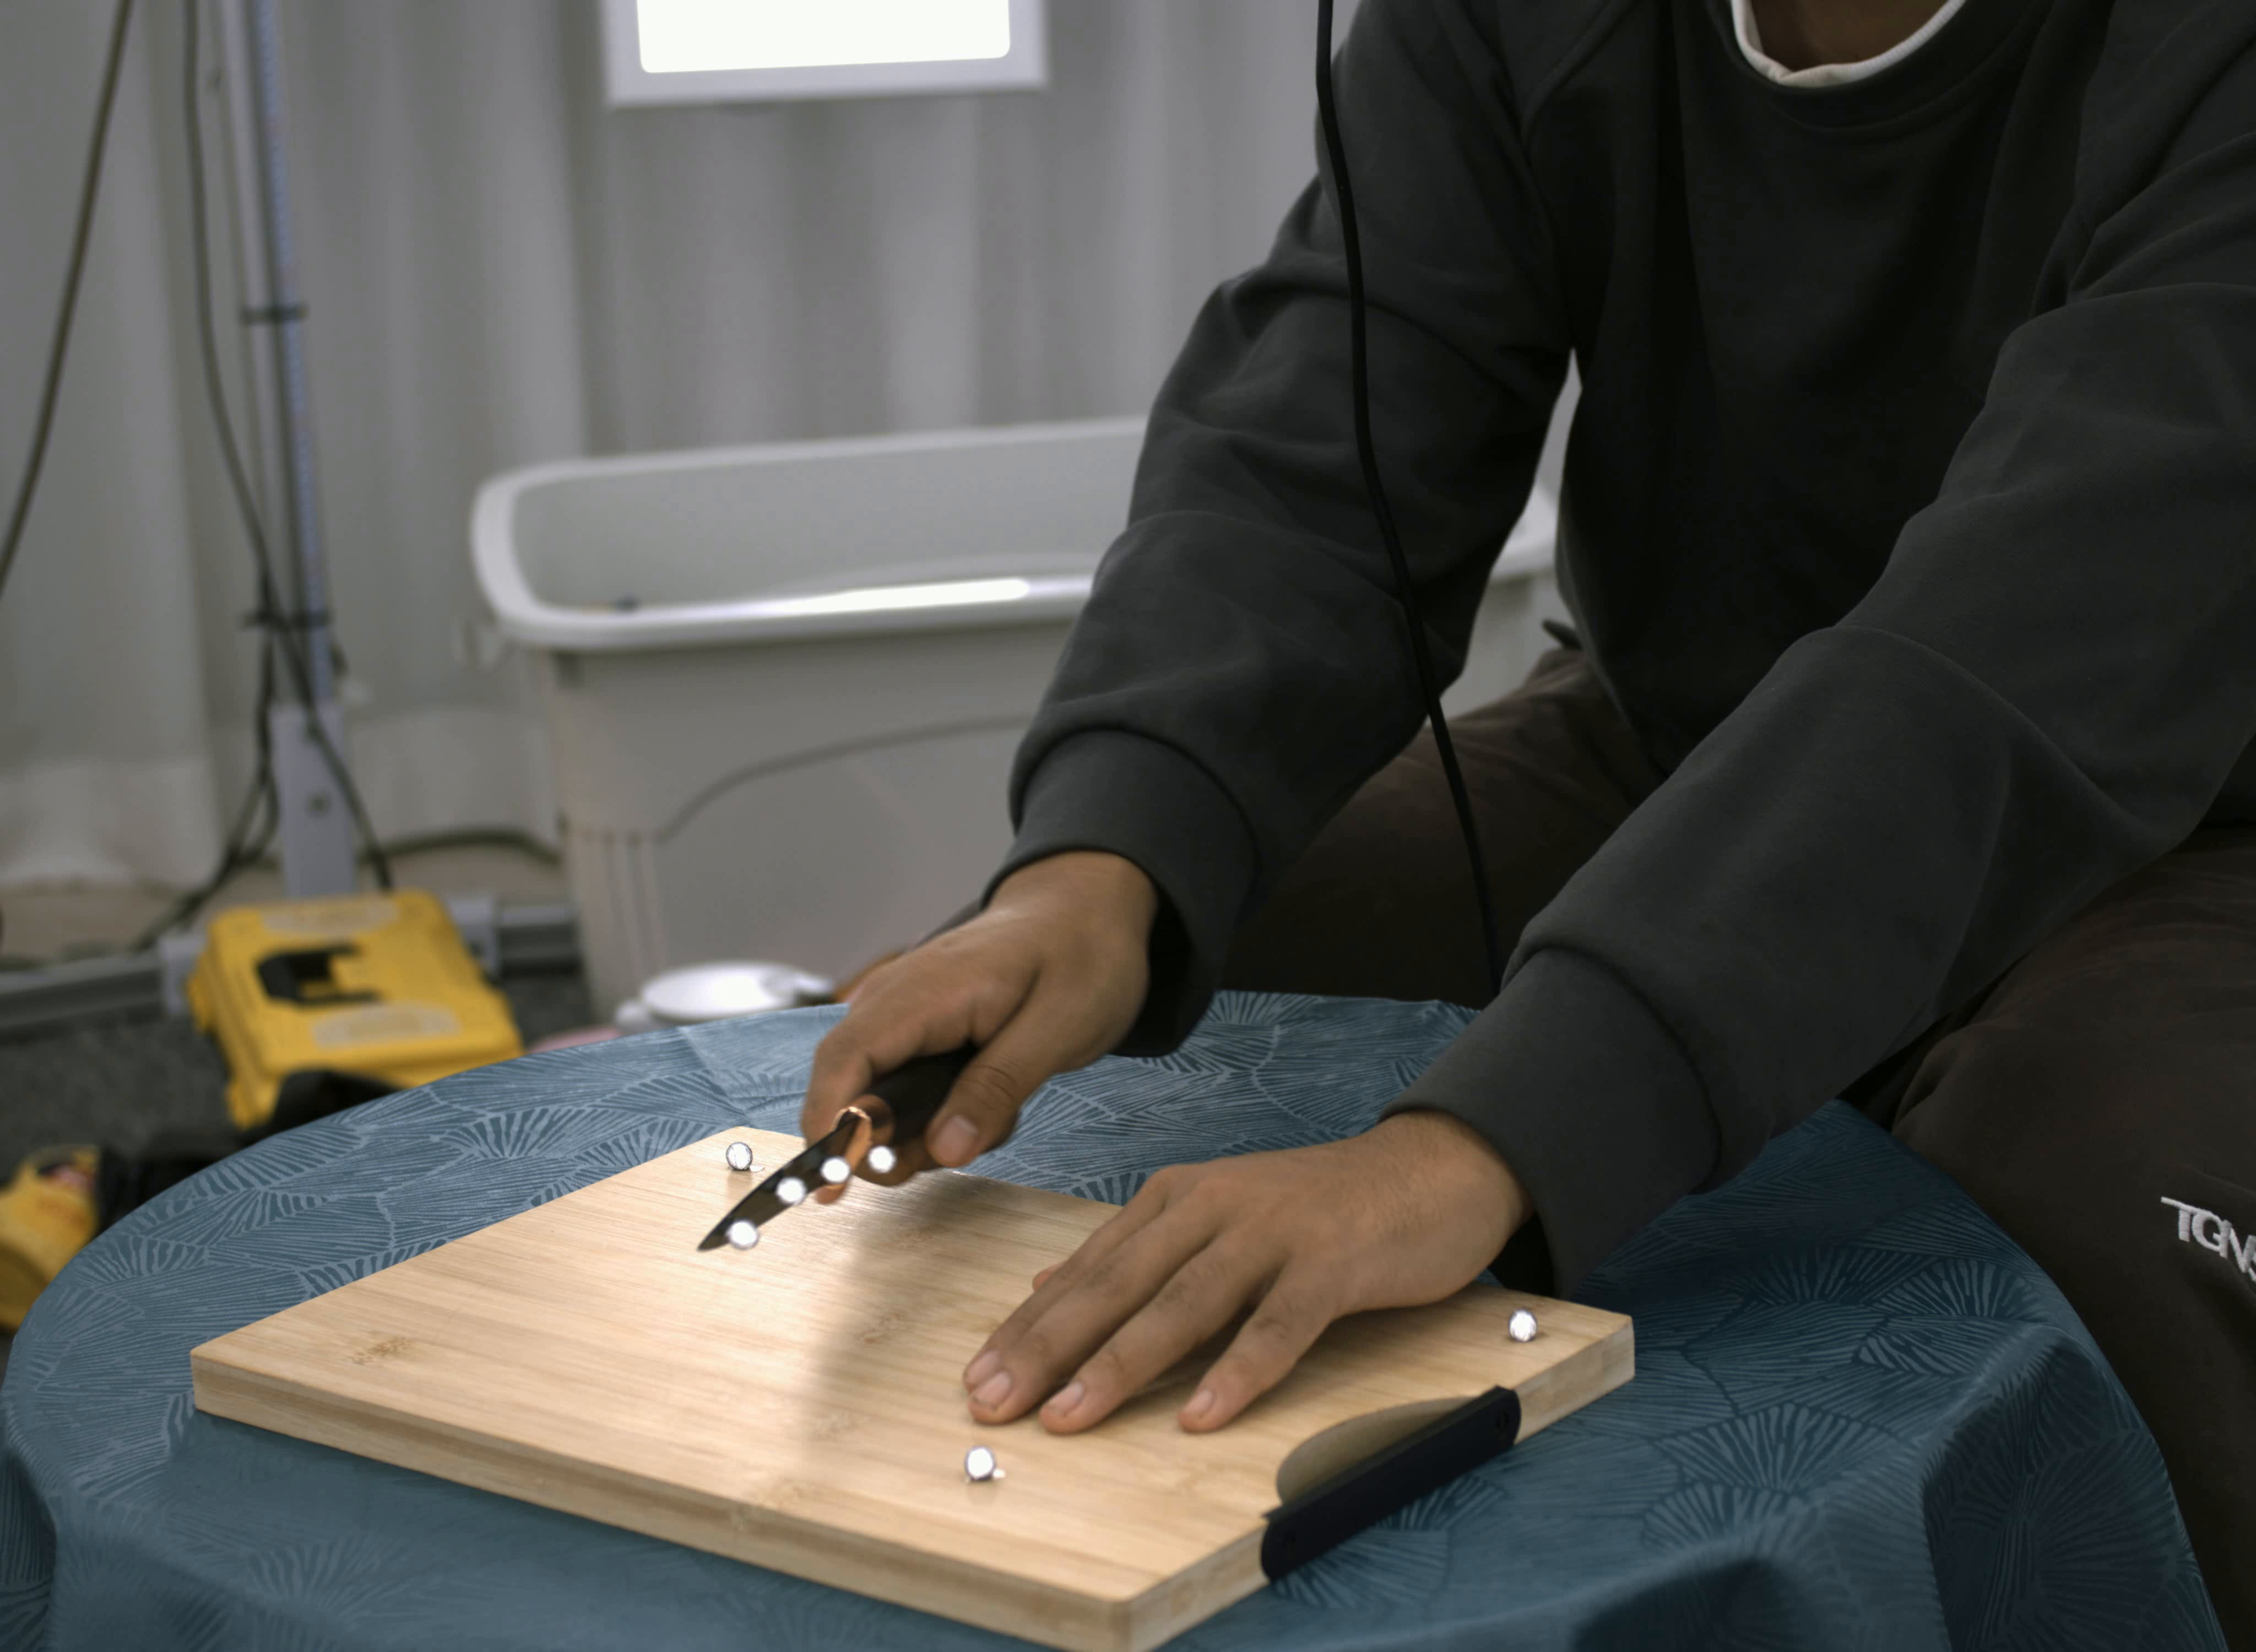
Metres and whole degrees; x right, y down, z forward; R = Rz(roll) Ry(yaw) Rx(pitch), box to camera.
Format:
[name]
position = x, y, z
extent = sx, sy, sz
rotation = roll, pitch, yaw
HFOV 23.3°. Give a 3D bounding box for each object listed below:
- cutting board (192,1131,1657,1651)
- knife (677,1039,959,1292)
[cutting board]
position = -0.059, 0.154, 1.547
extent = 0.350, 0.023, 0.250
rotation = 8, 19, 36
[knife]
position = -0.088, 0.096, 1.583
extent = 0.017, 0.026, 0.226
rotation = 28, 18, 9
